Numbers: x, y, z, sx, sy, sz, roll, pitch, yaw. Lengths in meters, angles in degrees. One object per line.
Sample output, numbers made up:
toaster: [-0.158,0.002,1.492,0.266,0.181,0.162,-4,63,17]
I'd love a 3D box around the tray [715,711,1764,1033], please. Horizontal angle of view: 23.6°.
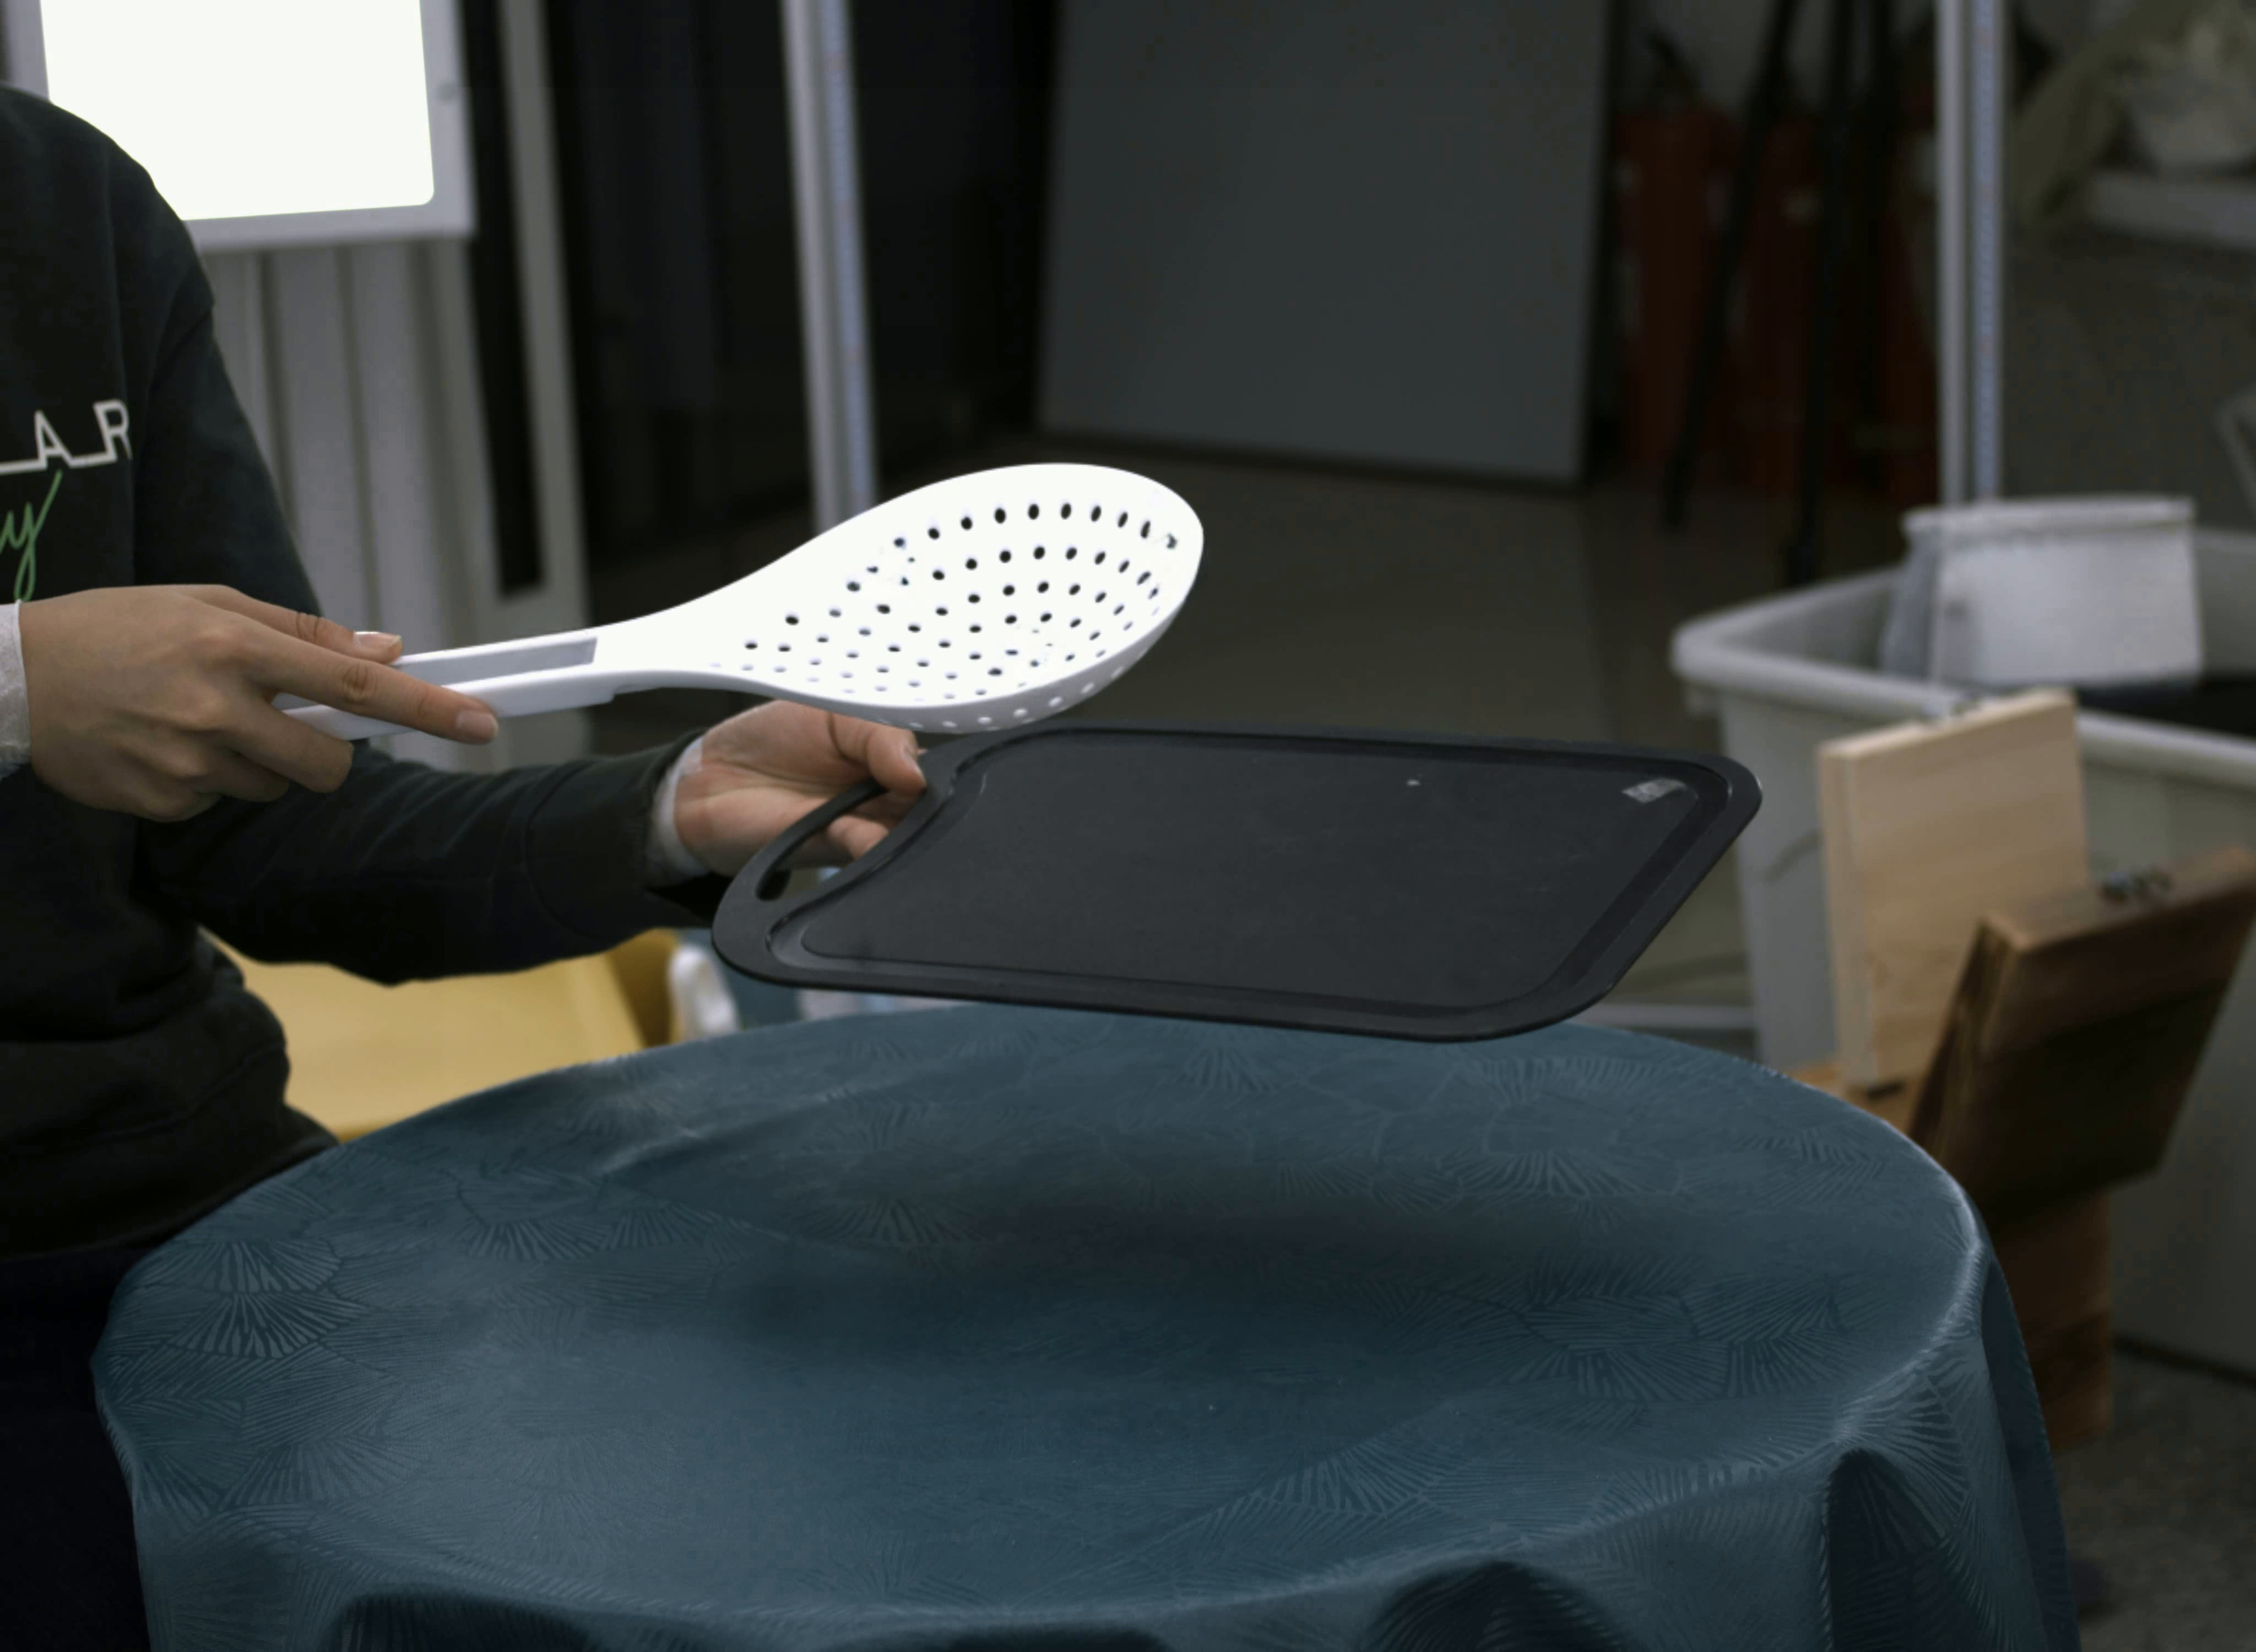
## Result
tray: [0.028,0.009,1.705,0.326,0.010,0.209,3,26,29]

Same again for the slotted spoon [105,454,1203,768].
slotted spoon: [-0.146,-0.055,1.660,0.346,0.046,0.136,-5,32,6]
